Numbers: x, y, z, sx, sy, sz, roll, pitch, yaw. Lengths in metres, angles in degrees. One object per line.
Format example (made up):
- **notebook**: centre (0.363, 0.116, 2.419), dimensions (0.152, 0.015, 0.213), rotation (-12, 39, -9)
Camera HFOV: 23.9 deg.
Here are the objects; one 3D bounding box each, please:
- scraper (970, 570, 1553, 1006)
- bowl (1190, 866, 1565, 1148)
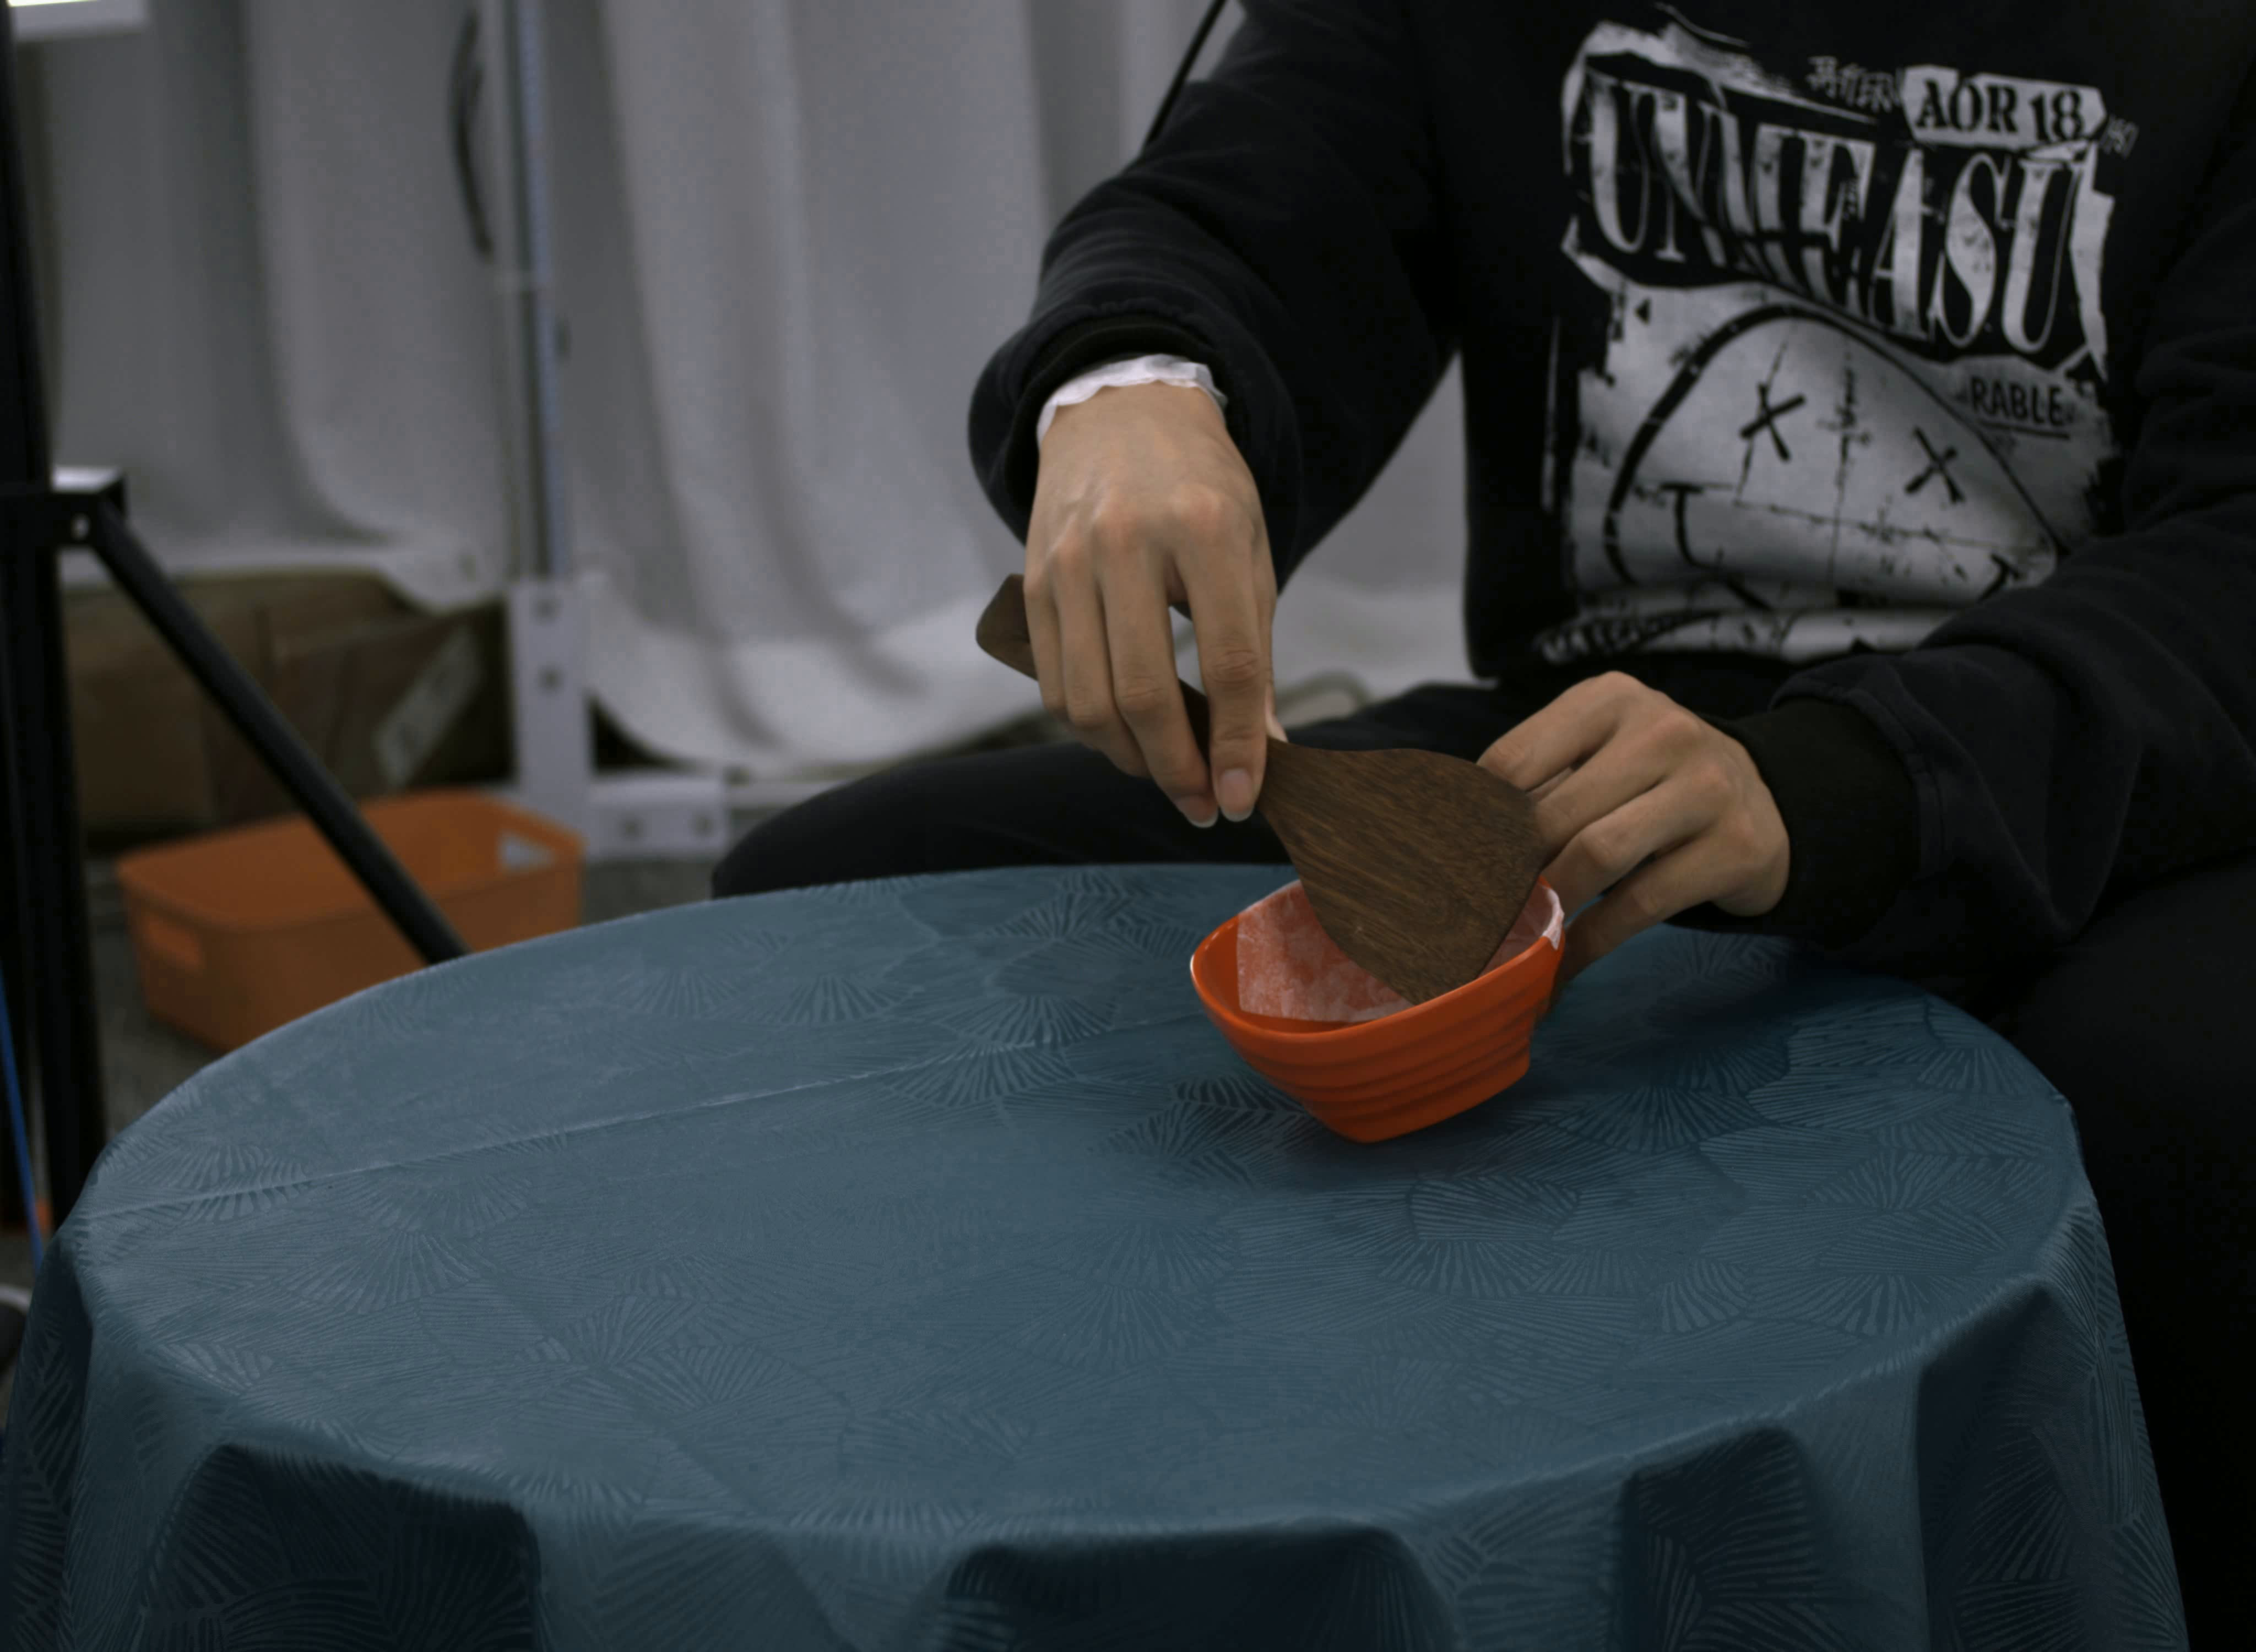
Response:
- **scraper**: centre (0.035, -0.021, 1.637), dimensions (0.215, 0.076, 0.010), rotation (33, 2, 27)
- **bowl**: centre (0.081, 0.056, 1.610), dimensions (0.119, 0.051, 0.120), rotation (-16, 24, 6)
